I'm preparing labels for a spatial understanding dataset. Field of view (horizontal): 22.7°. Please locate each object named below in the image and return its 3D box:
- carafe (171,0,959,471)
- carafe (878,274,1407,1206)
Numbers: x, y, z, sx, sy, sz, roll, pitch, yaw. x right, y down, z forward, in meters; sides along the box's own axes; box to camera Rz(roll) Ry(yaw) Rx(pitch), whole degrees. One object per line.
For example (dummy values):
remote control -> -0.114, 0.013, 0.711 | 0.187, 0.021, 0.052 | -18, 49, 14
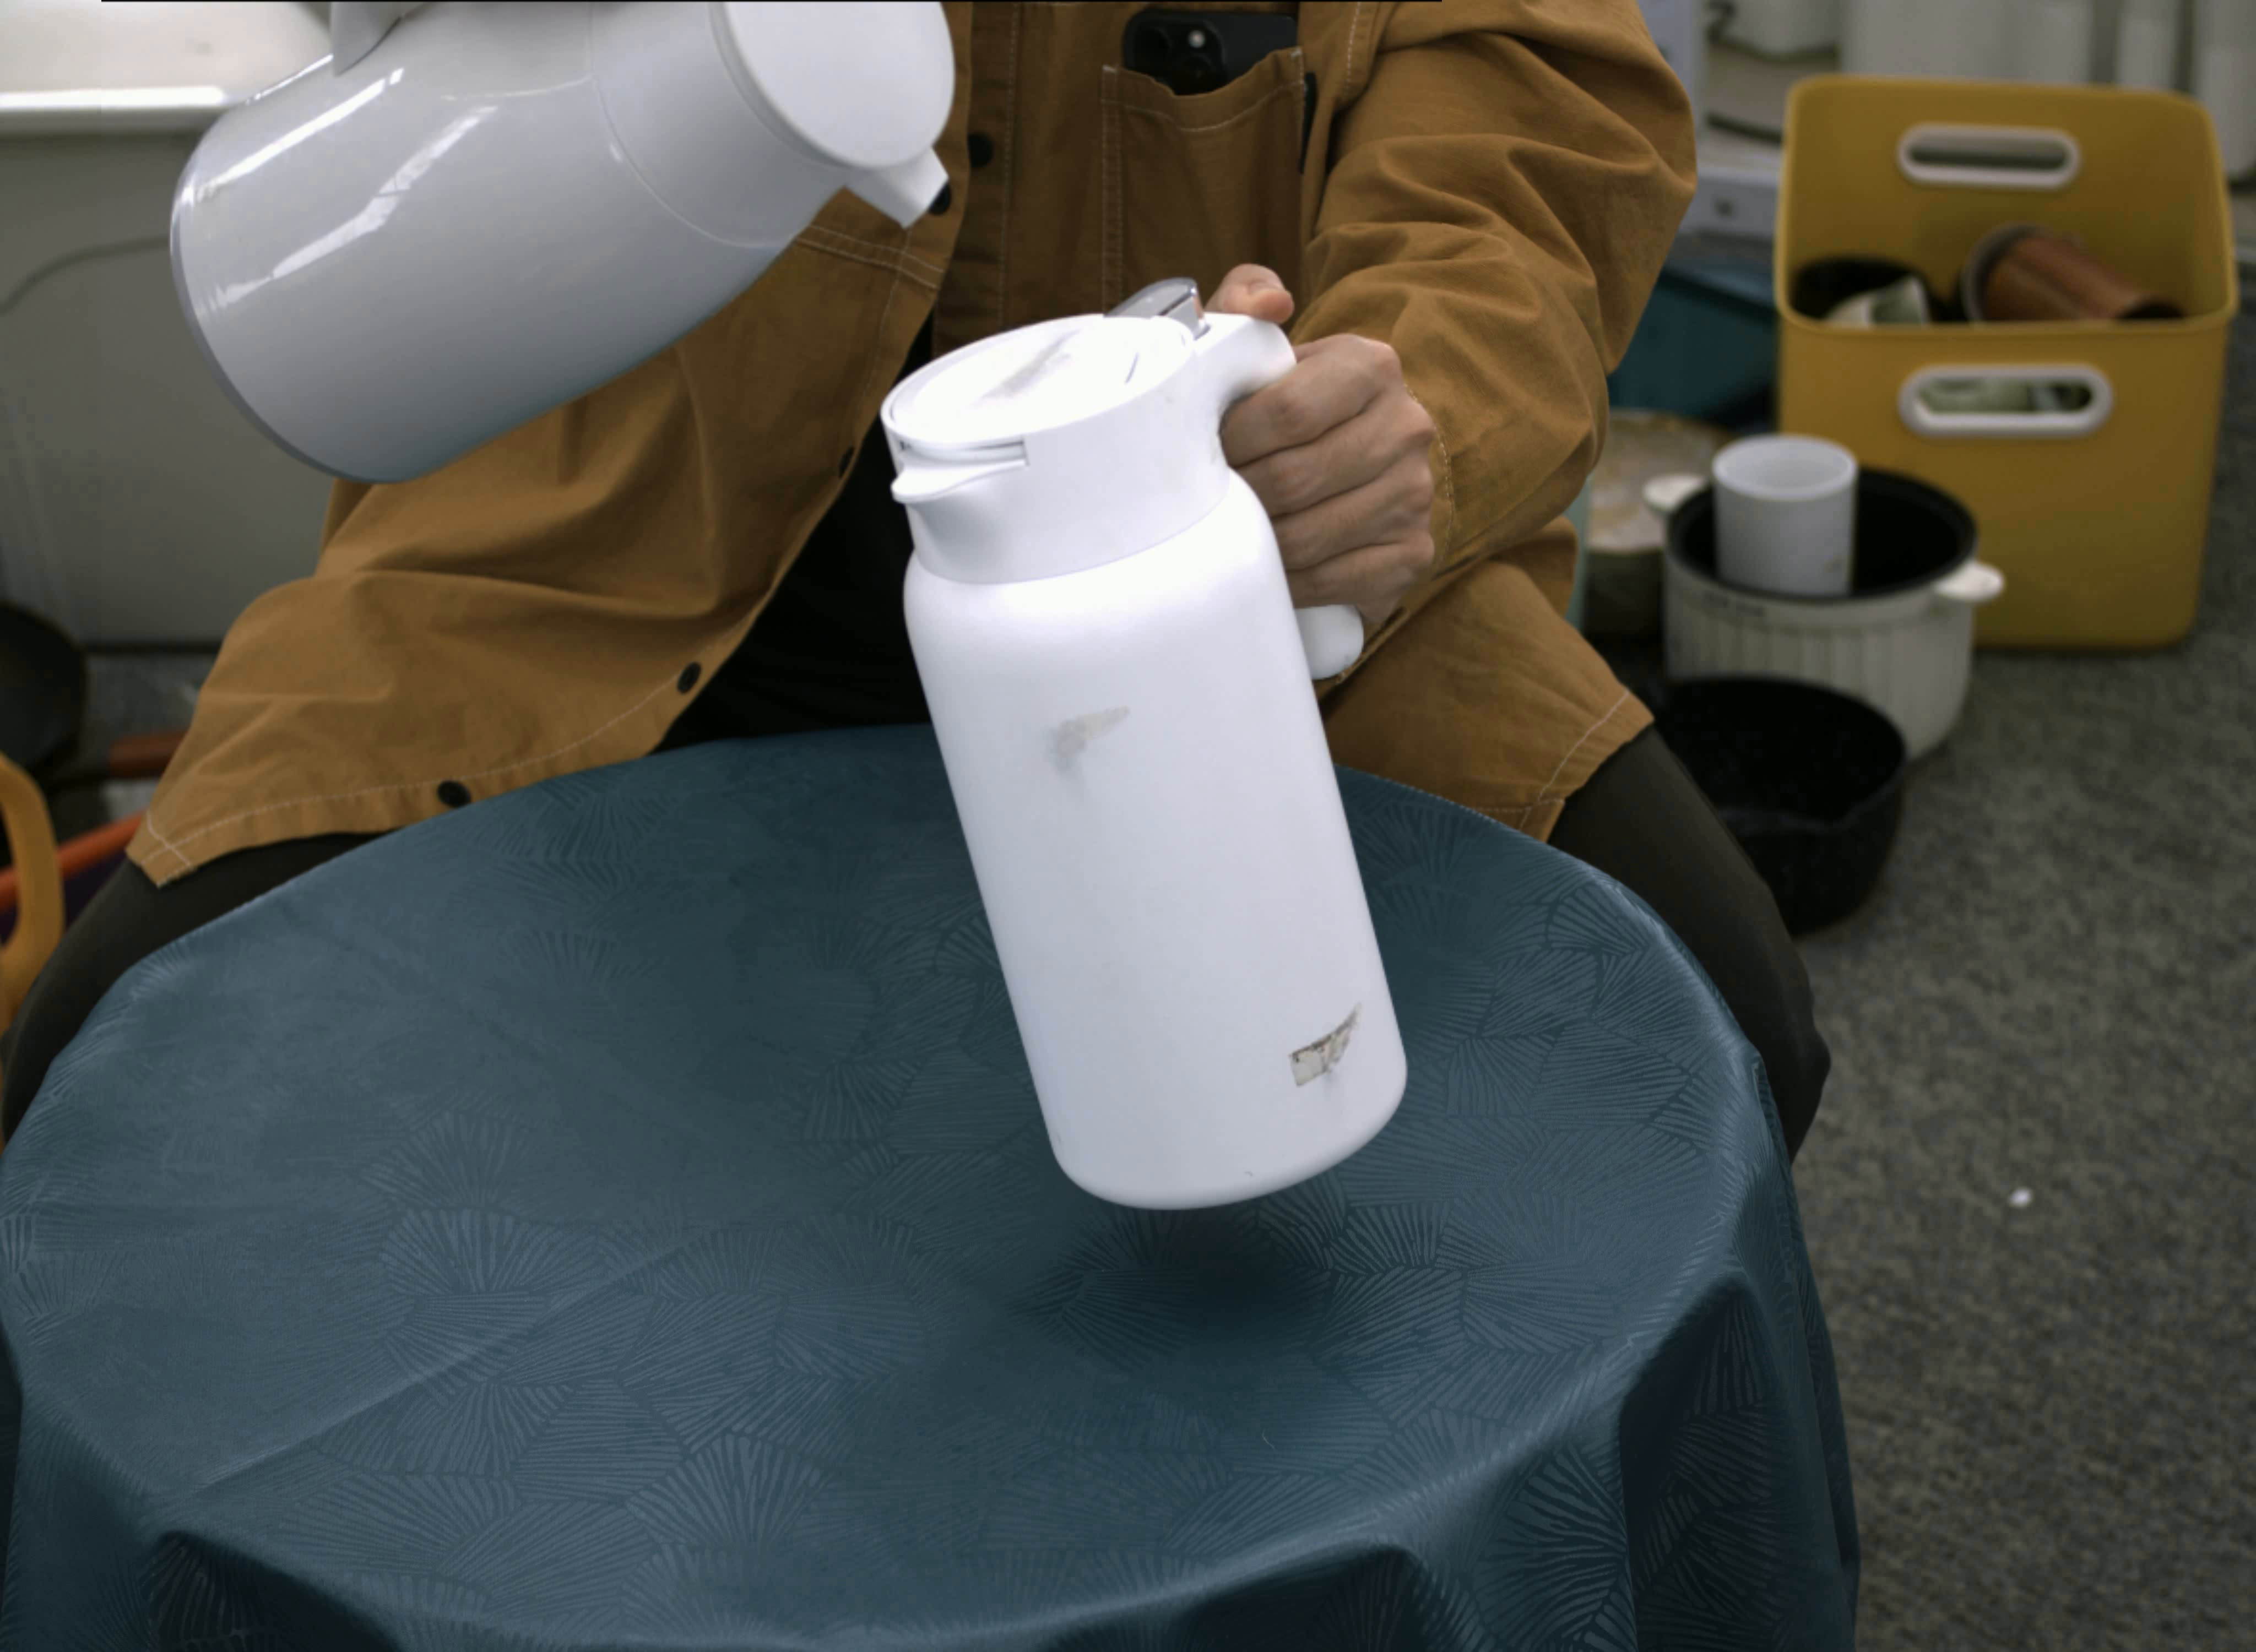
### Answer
carafe -> -0.177, -0.221, 1.718 | 0.245, 0.167, 0.135 | -21, 27, 40
carafe -> 0.012, -0.030, 1.762 | 0.123, 0.267, 0.175 | 1, 26, 40
